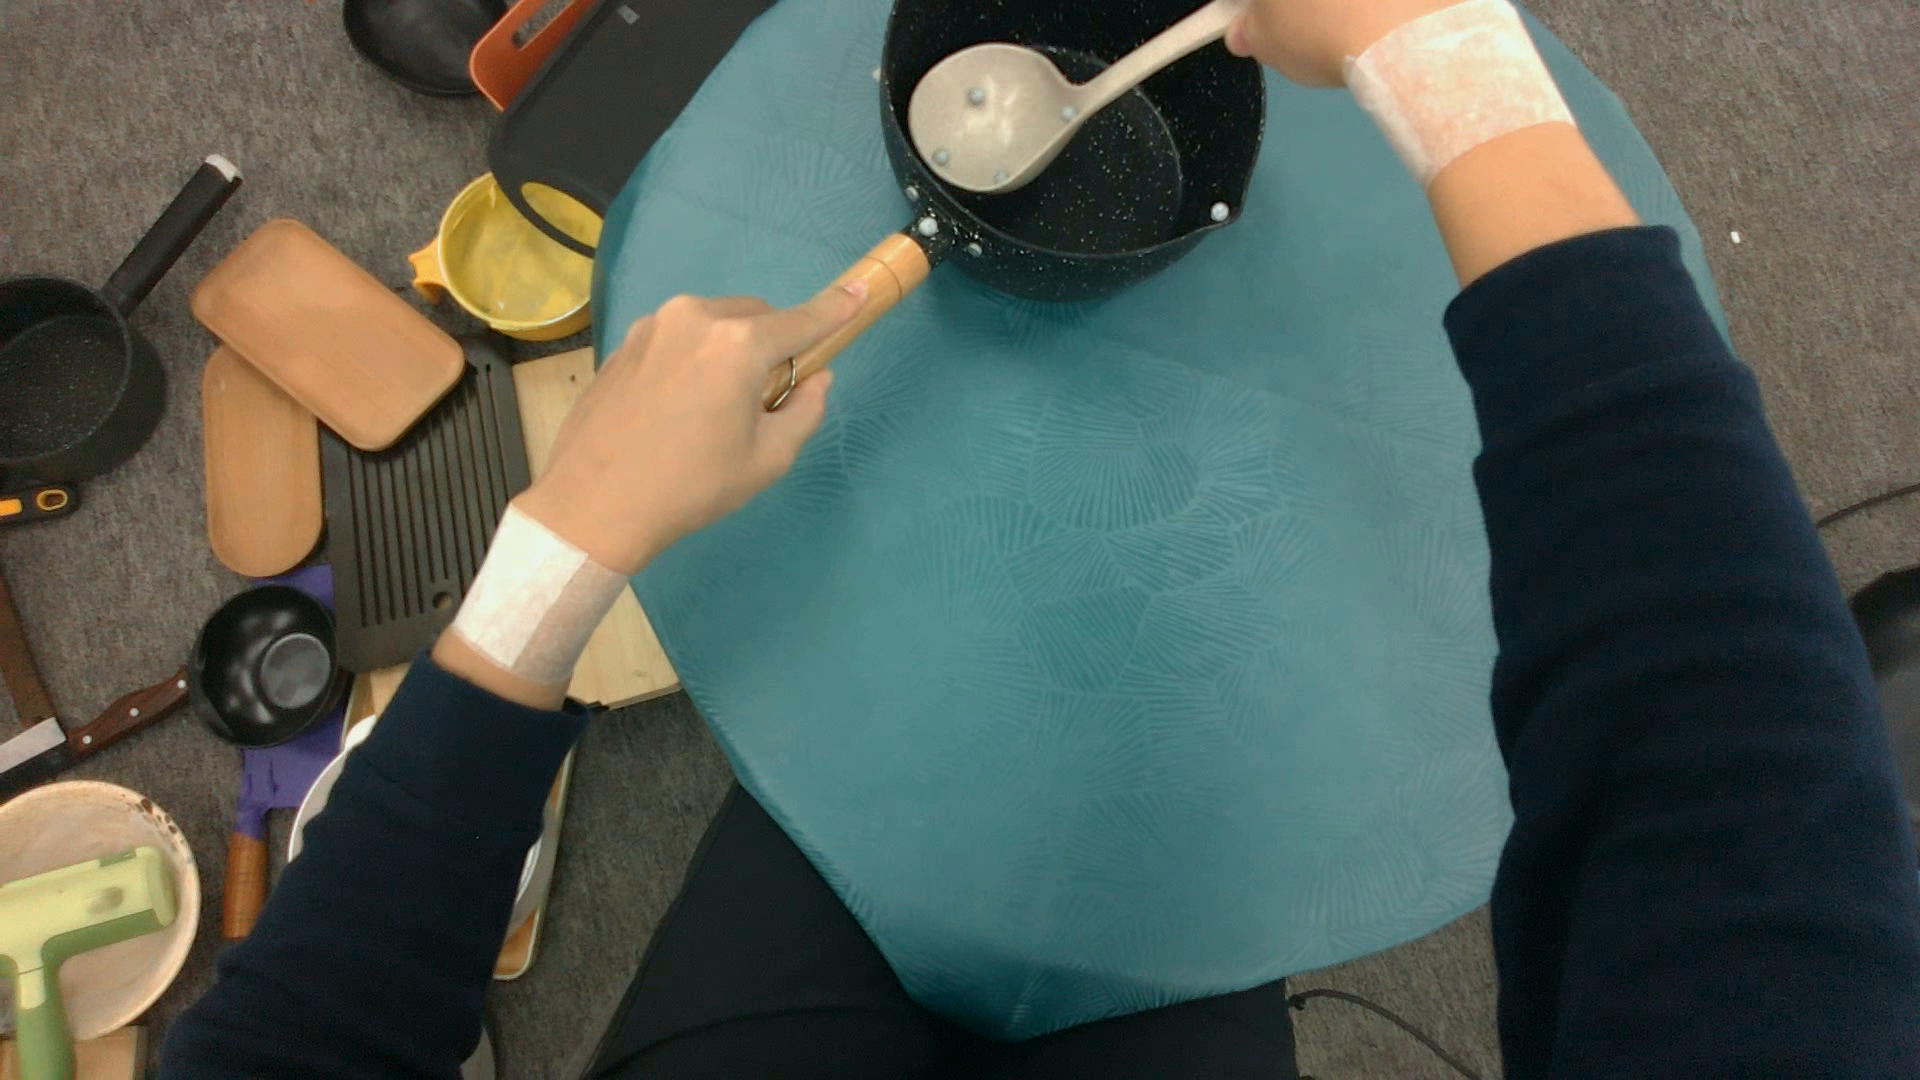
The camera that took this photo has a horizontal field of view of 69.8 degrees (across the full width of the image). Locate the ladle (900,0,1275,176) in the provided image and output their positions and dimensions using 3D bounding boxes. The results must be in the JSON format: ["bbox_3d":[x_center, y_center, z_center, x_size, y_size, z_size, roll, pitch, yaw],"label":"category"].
[{"bbox_3d":[0.072,-0.234,0.610,0.069,0.274,0.089,34,66,-27],"label":"ladle"}]

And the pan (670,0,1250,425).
[{"bbox_3d":[-0.006,-0.159,0.654,0.207,0.108,0.344,41,72,3],"label":"pan"}]
